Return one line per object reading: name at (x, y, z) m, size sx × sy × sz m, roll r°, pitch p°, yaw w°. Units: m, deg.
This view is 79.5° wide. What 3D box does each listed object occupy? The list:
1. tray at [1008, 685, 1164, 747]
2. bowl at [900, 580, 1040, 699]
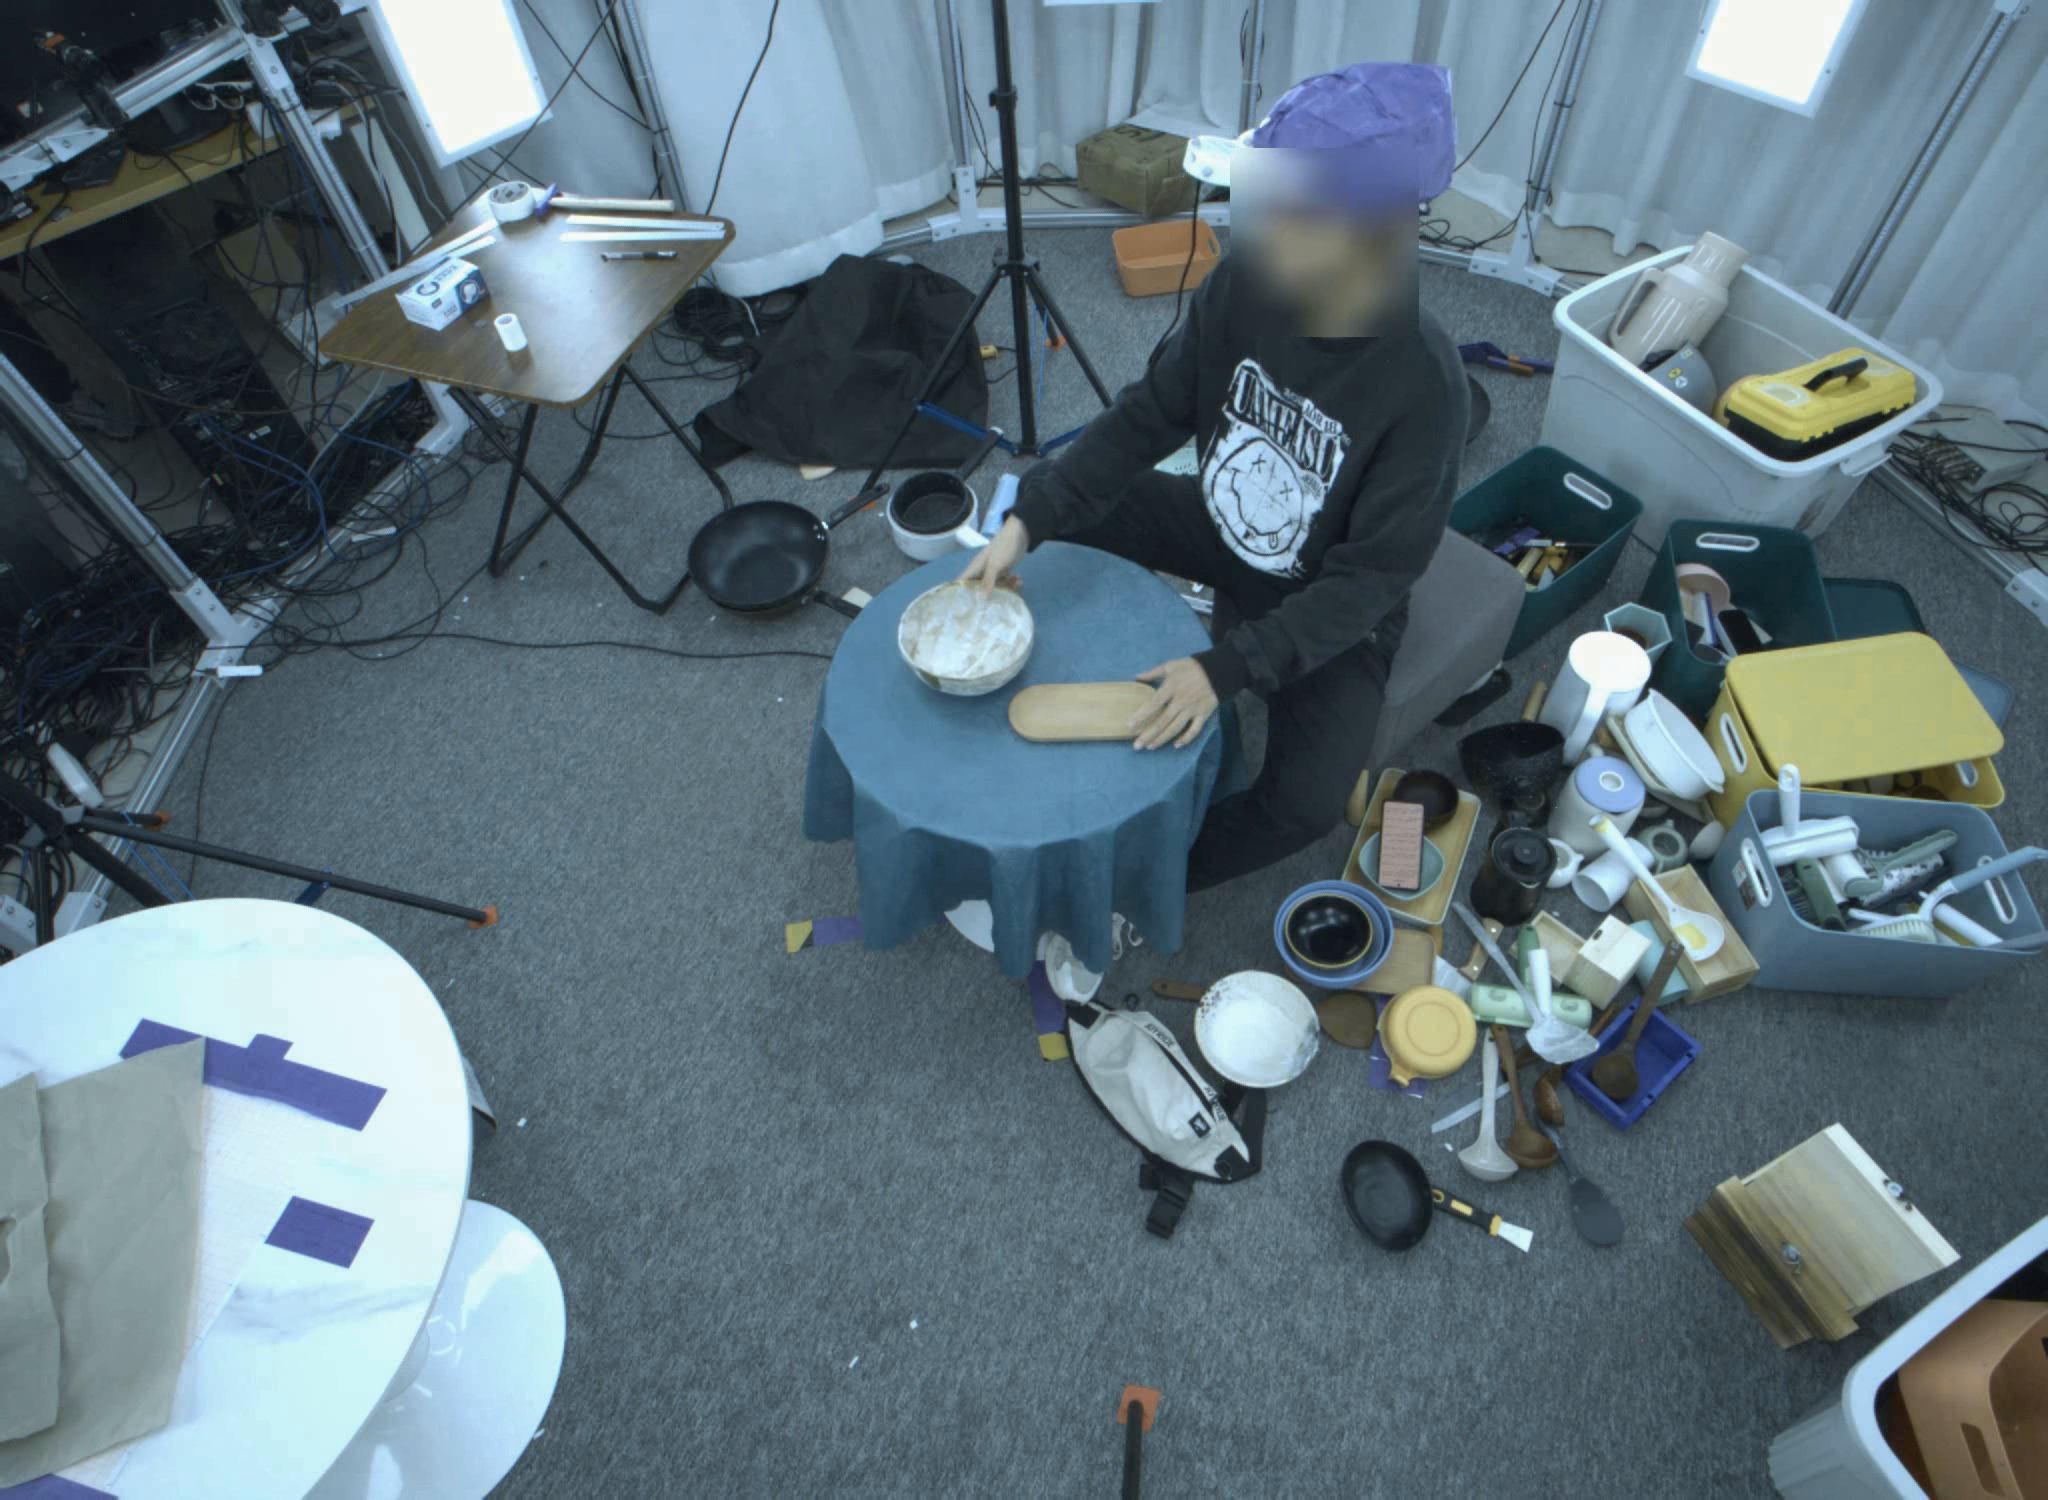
tray at (0.092, -0.050, 1.821) m, size 0.231 × 0.020 × 0.100 m, roll -3°, pitch 53°, yaw 2°
bowl at (-0.078, -0.148, 1.847) m, size 0.214 × 0.095 × 0.212 m, roll 0°, pitch 54°, yaw 2°
